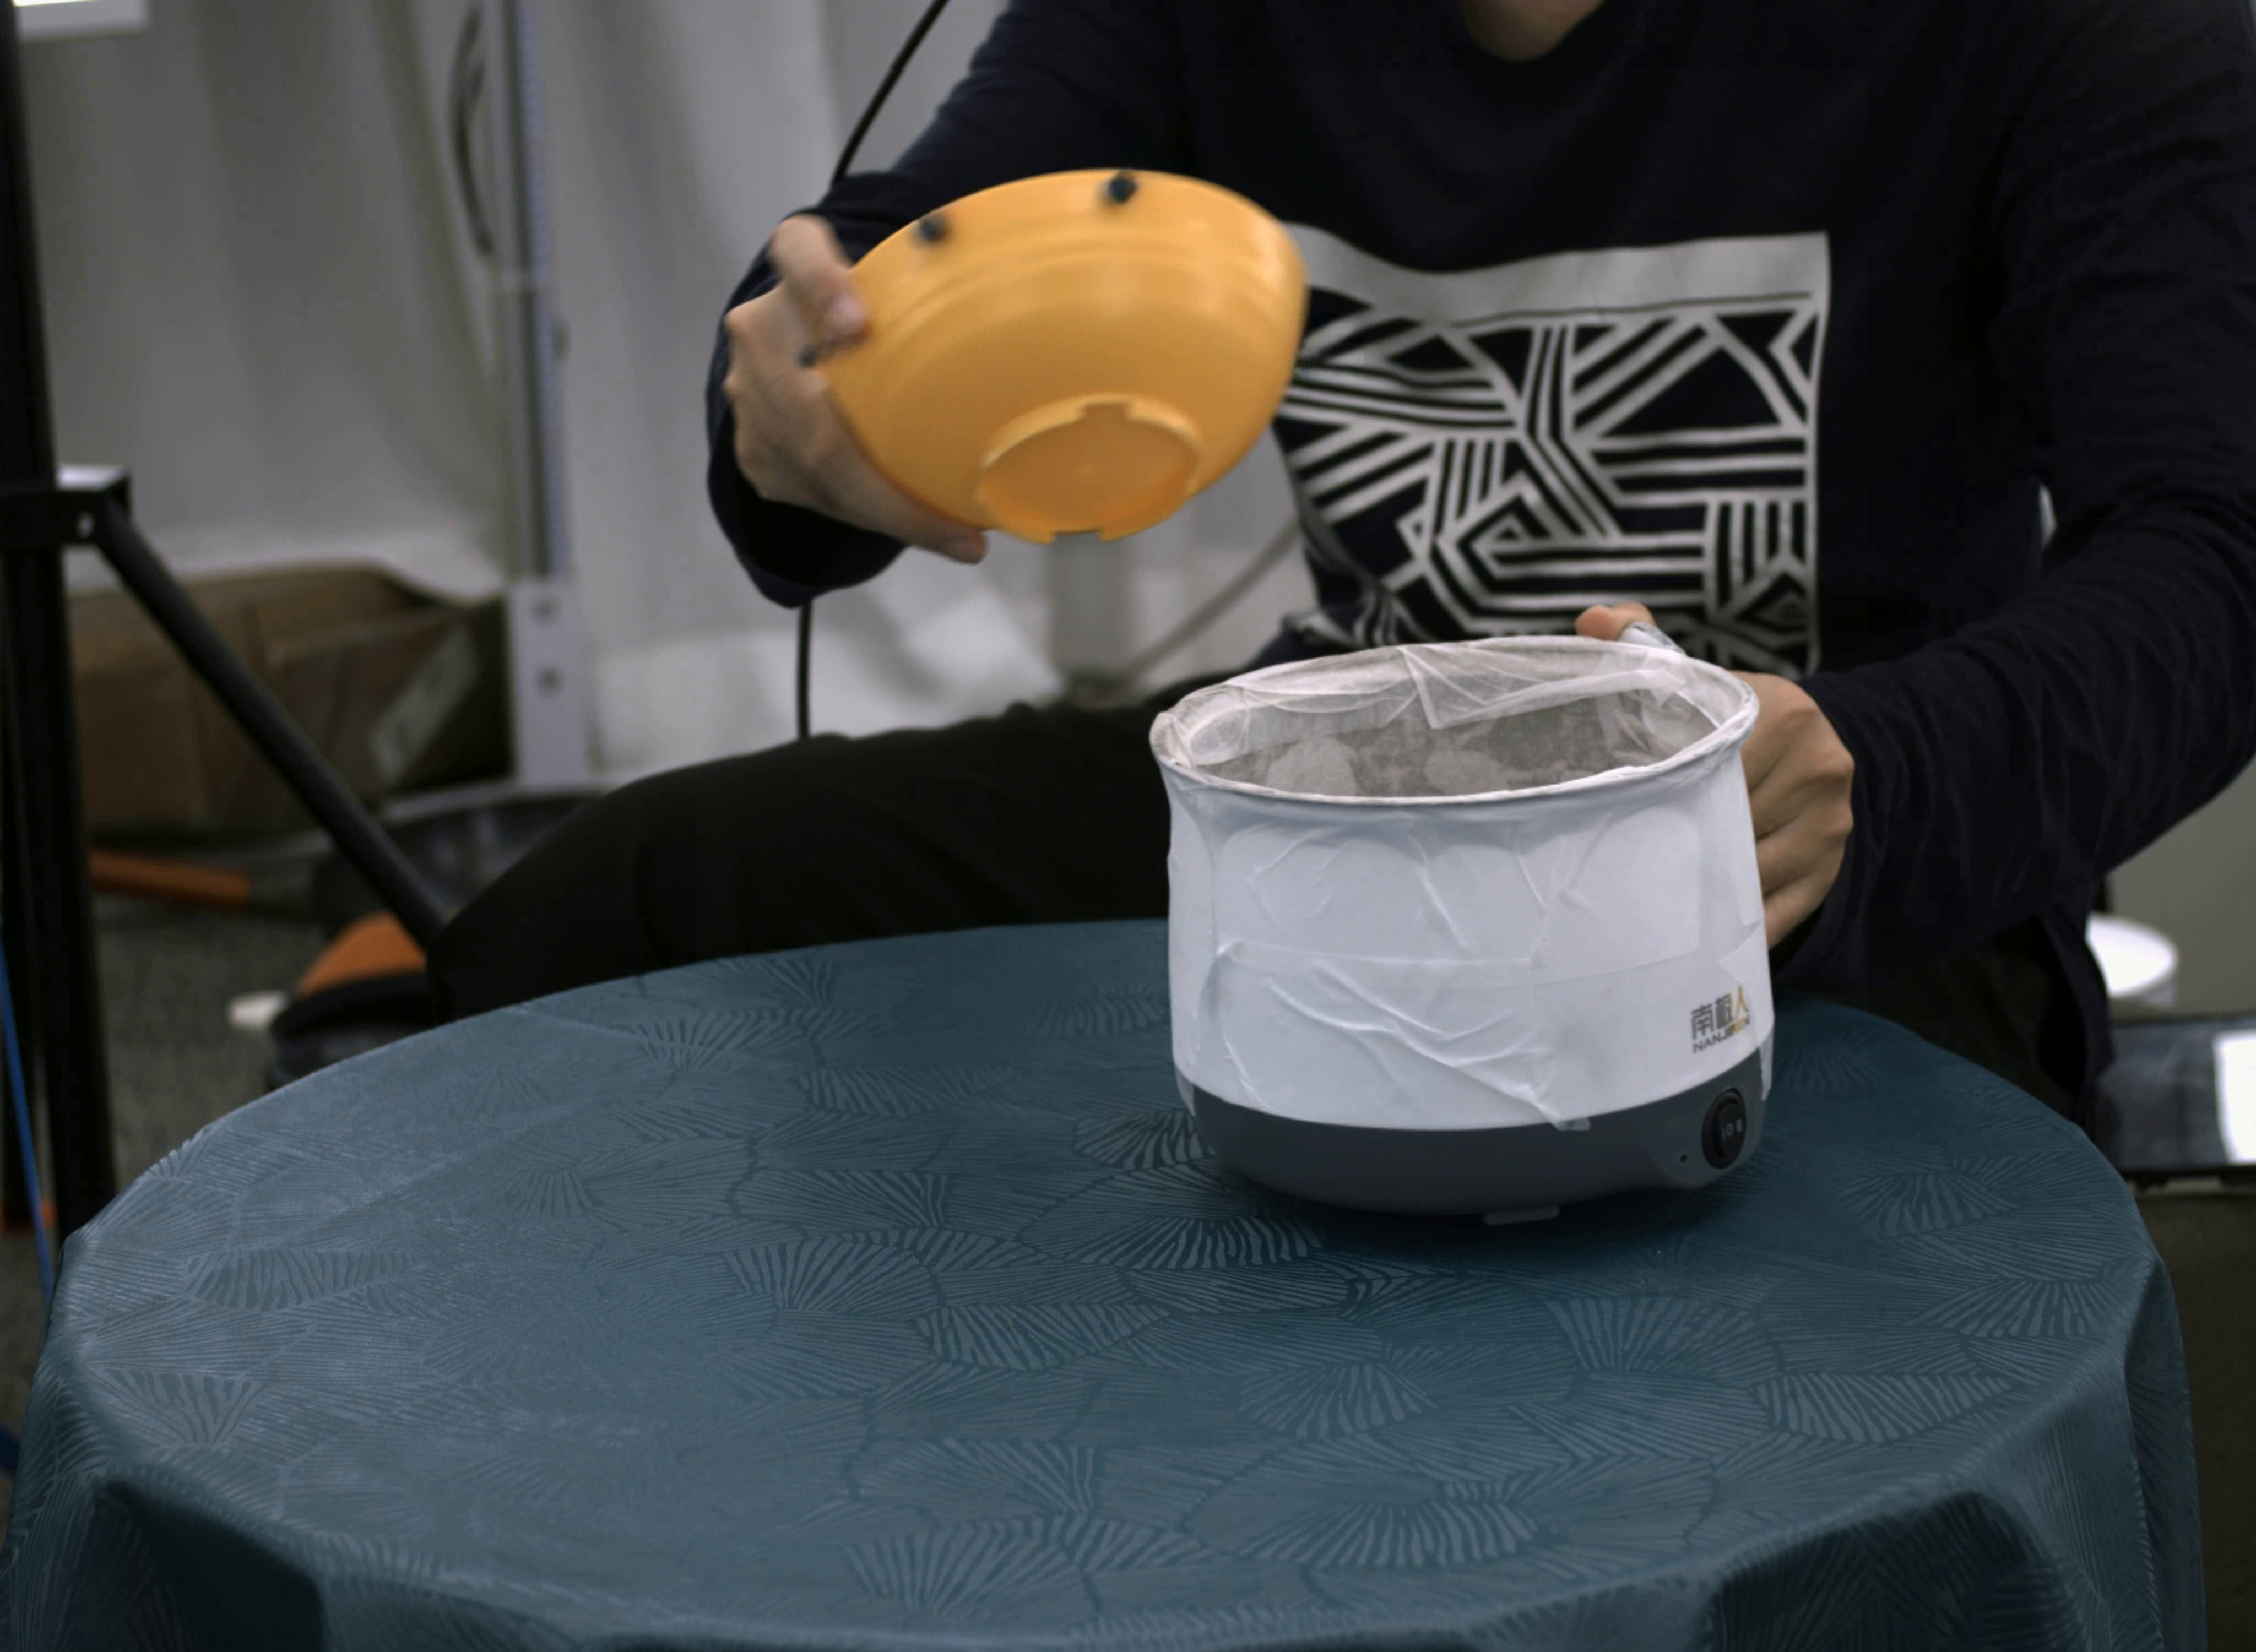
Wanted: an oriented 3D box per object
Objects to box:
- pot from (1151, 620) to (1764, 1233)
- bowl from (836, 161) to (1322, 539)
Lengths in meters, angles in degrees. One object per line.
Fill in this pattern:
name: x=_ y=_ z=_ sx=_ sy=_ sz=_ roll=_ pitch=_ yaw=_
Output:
pot: x=0.114 y=0.022 z=1.572 sx=0.182 sy=0.136 sz=0.229 roll=10 pitch=22 yaw=36
bowl: x=-0.011 y=-0.126 z=1.555 sx=0.144 sy=0.144 sz=0.061 roll=-3 pitch=58 yaw=-5
